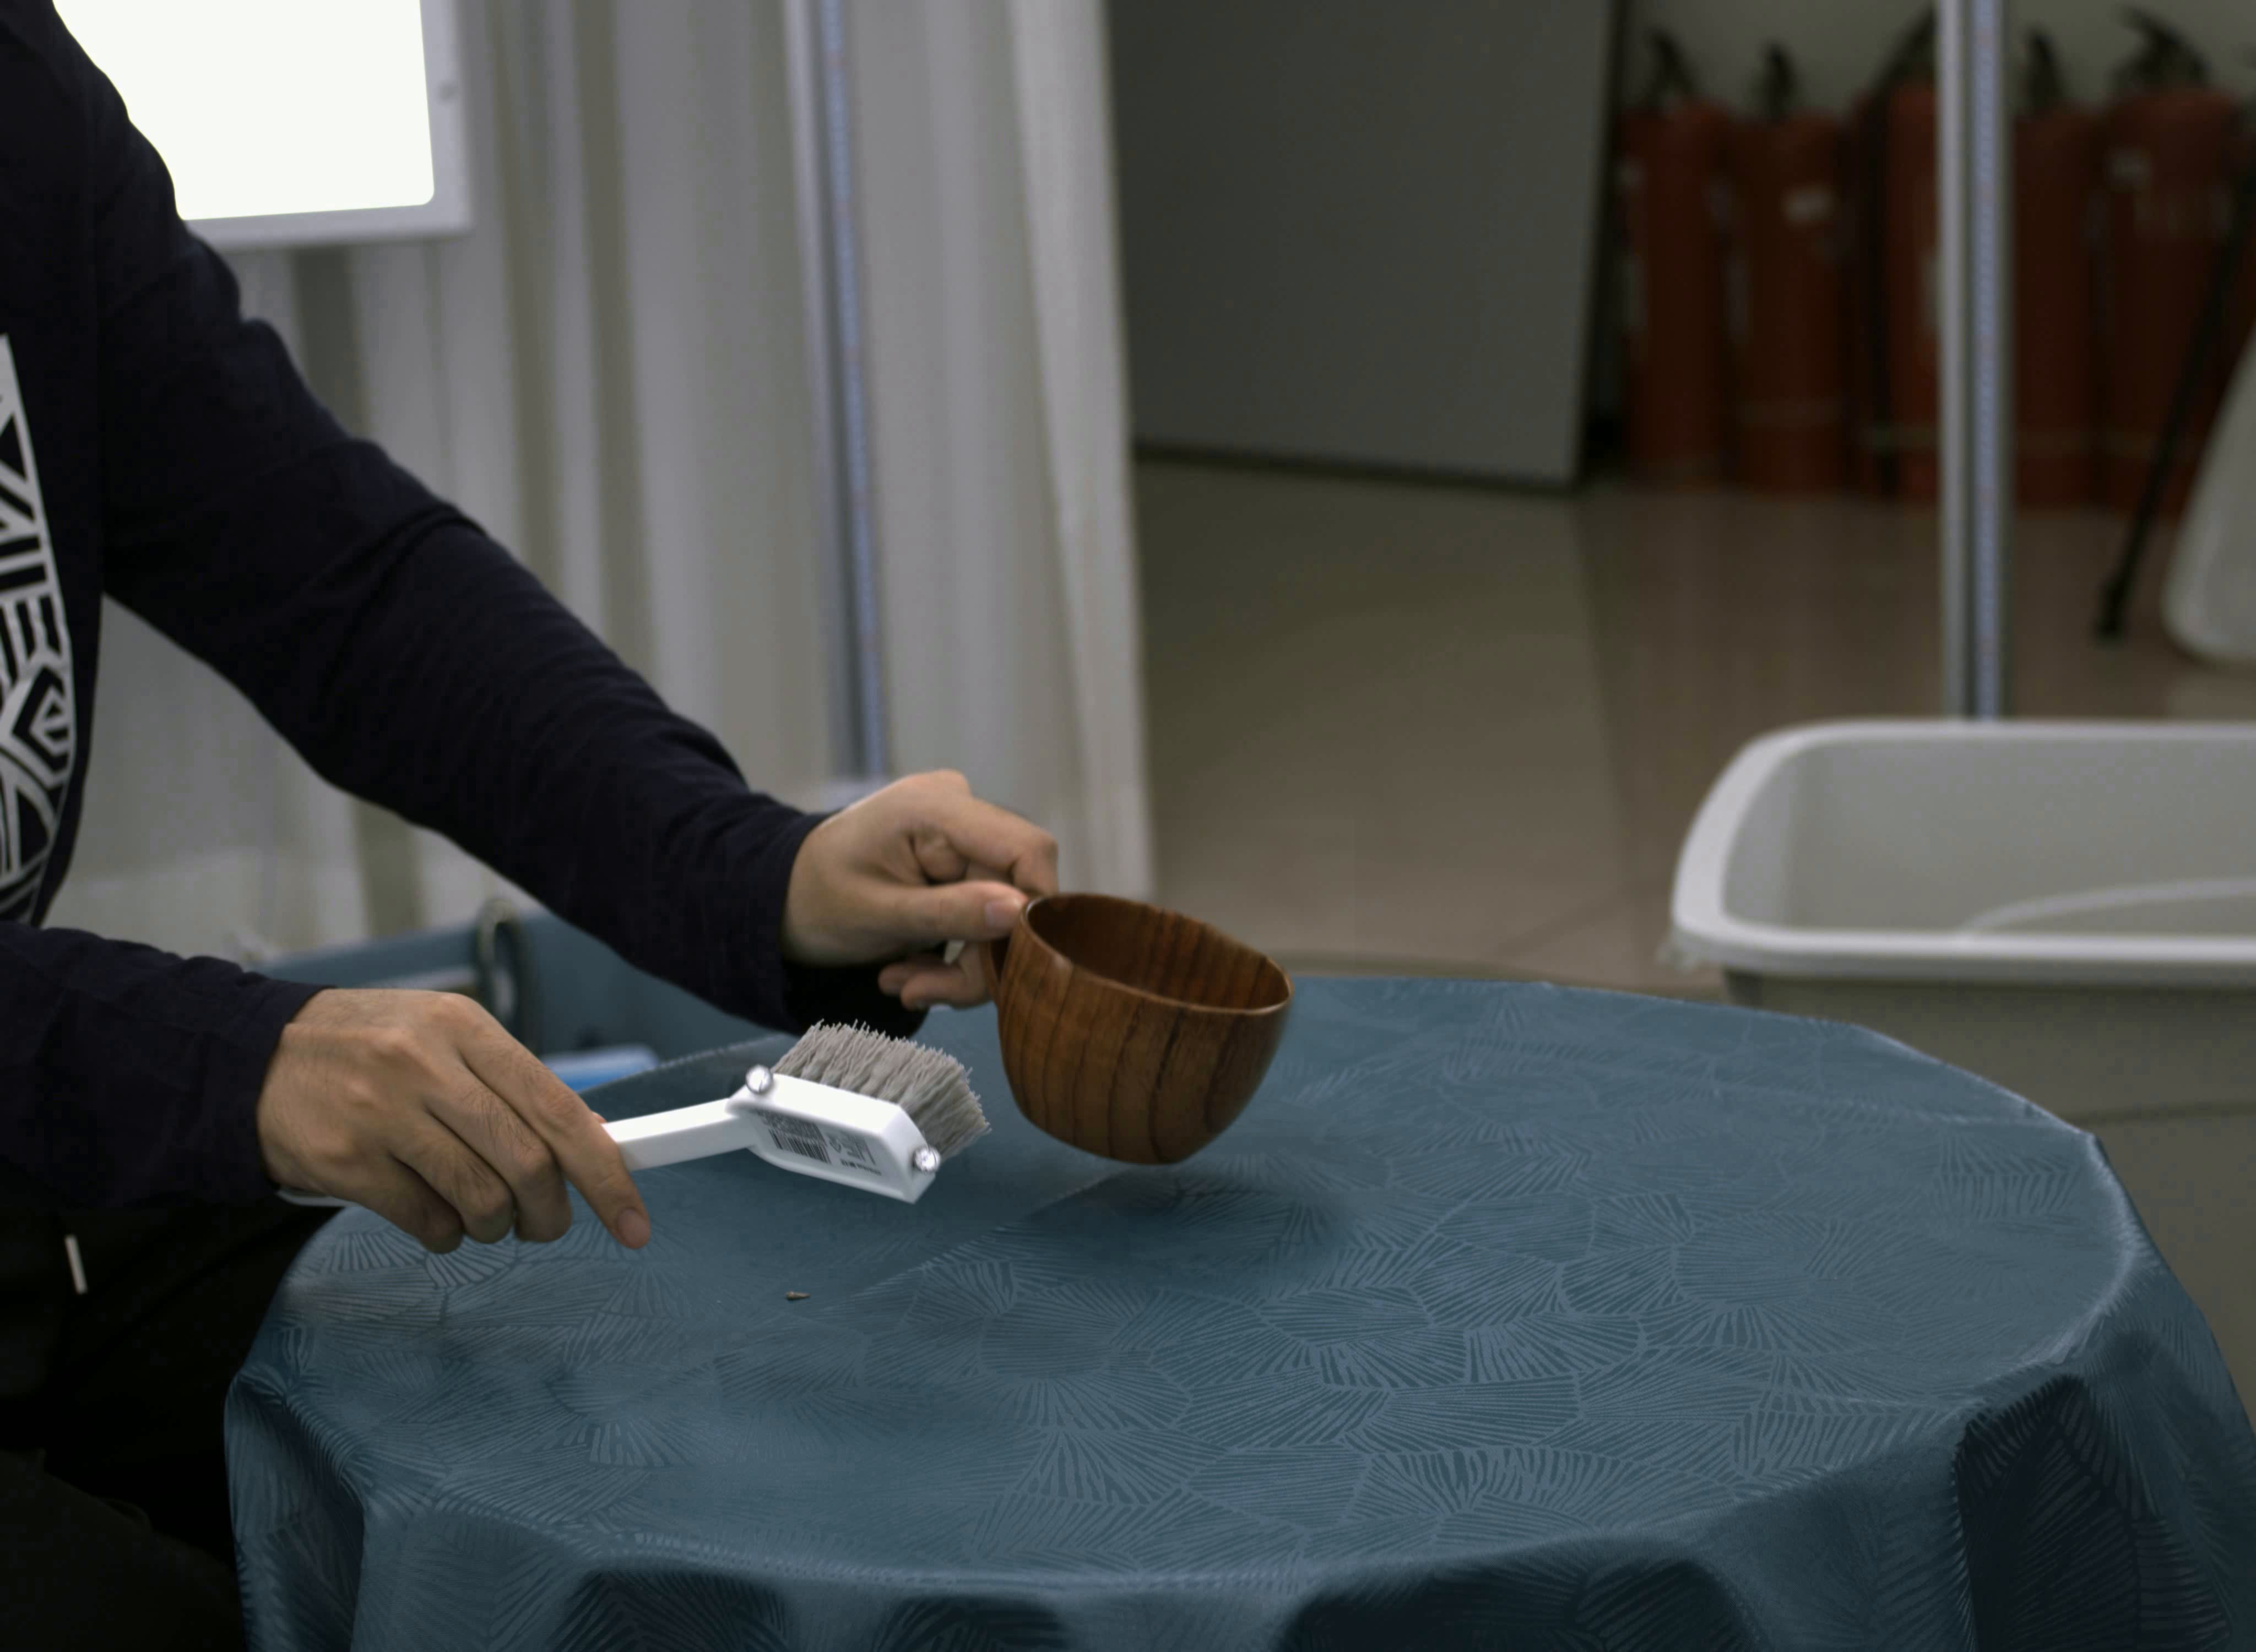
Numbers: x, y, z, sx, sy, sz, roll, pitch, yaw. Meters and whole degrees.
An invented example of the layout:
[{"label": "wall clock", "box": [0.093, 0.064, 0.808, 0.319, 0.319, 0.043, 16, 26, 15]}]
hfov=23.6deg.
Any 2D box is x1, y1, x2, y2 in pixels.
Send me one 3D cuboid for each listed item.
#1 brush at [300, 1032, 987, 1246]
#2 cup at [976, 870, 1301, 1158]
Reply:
[{"label": "brush", "box": [-0.151, 0.097, 1.666, 0.245, 0.034, 0.050, -8, 42, 32]}, {"label": "cup", "box": [-0.007, 0.060, 1.773, 0.120, 0.068, 0.094, 32, 23, 33]}]
